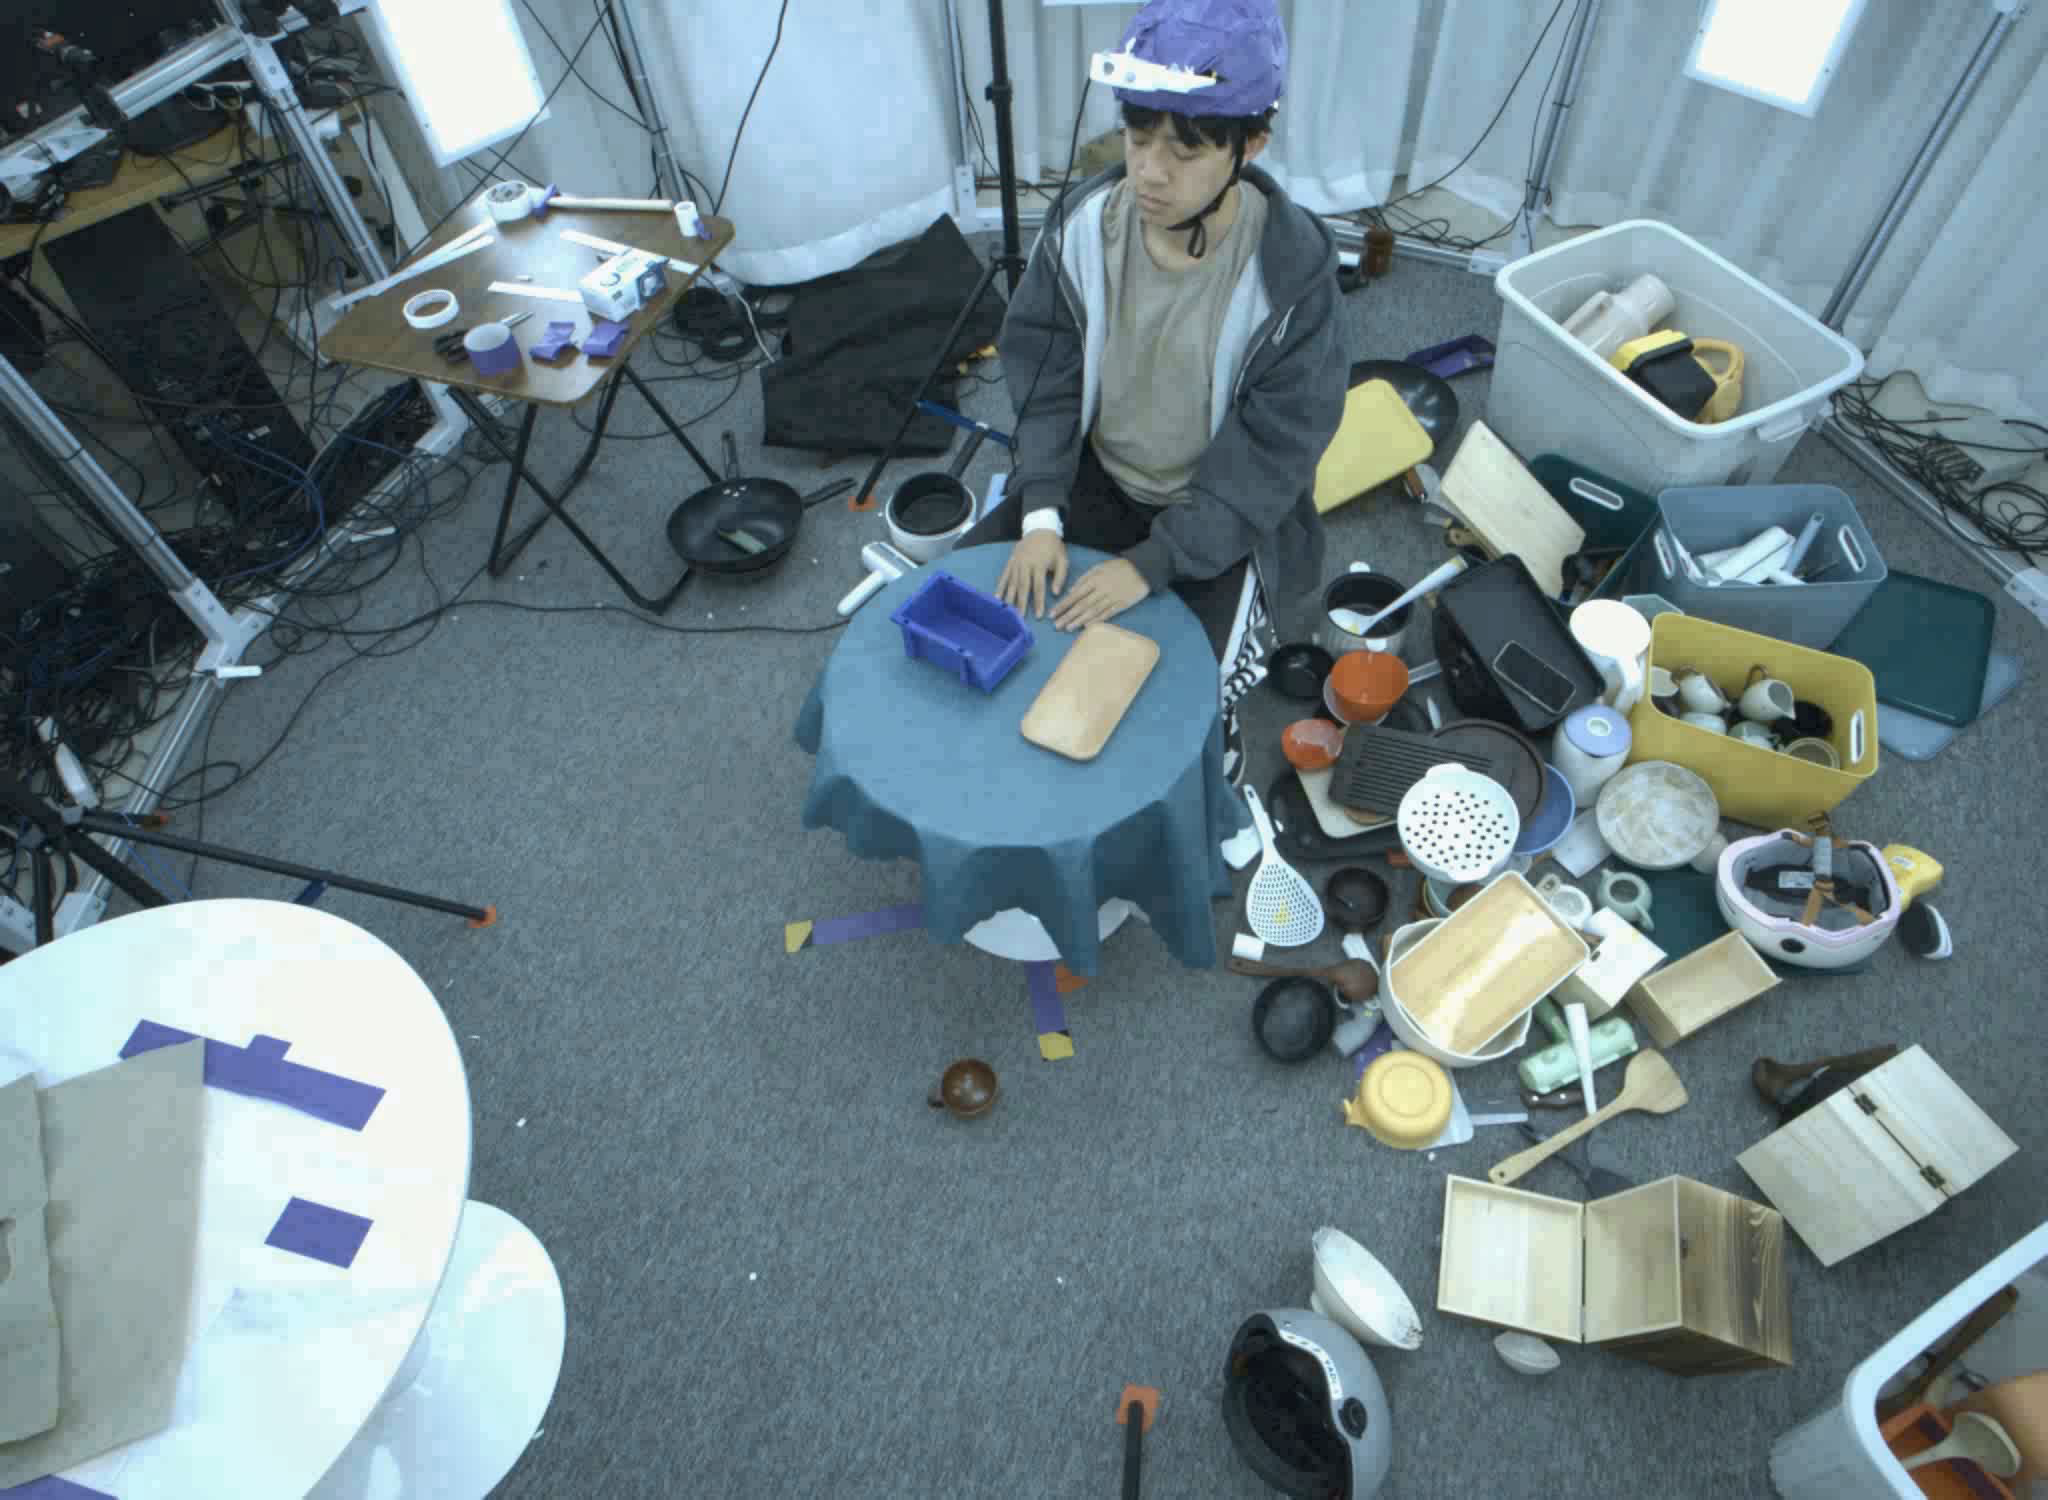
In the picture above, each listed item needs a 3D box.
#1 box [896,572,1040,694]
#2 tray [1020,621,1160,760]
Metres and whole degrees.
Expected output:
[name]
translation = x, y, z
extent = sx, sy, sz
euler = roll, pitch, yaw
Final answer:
[box]
translation = -0.083, -0.175, 1.867
extent = 0.176, 0.083, 0.125
euler = 29, 61, 25
[tray]
translation = 0.100, -0.091, 1.841
extent = 0.129, 0.023, 0.251
euler = 25, 59, 15
